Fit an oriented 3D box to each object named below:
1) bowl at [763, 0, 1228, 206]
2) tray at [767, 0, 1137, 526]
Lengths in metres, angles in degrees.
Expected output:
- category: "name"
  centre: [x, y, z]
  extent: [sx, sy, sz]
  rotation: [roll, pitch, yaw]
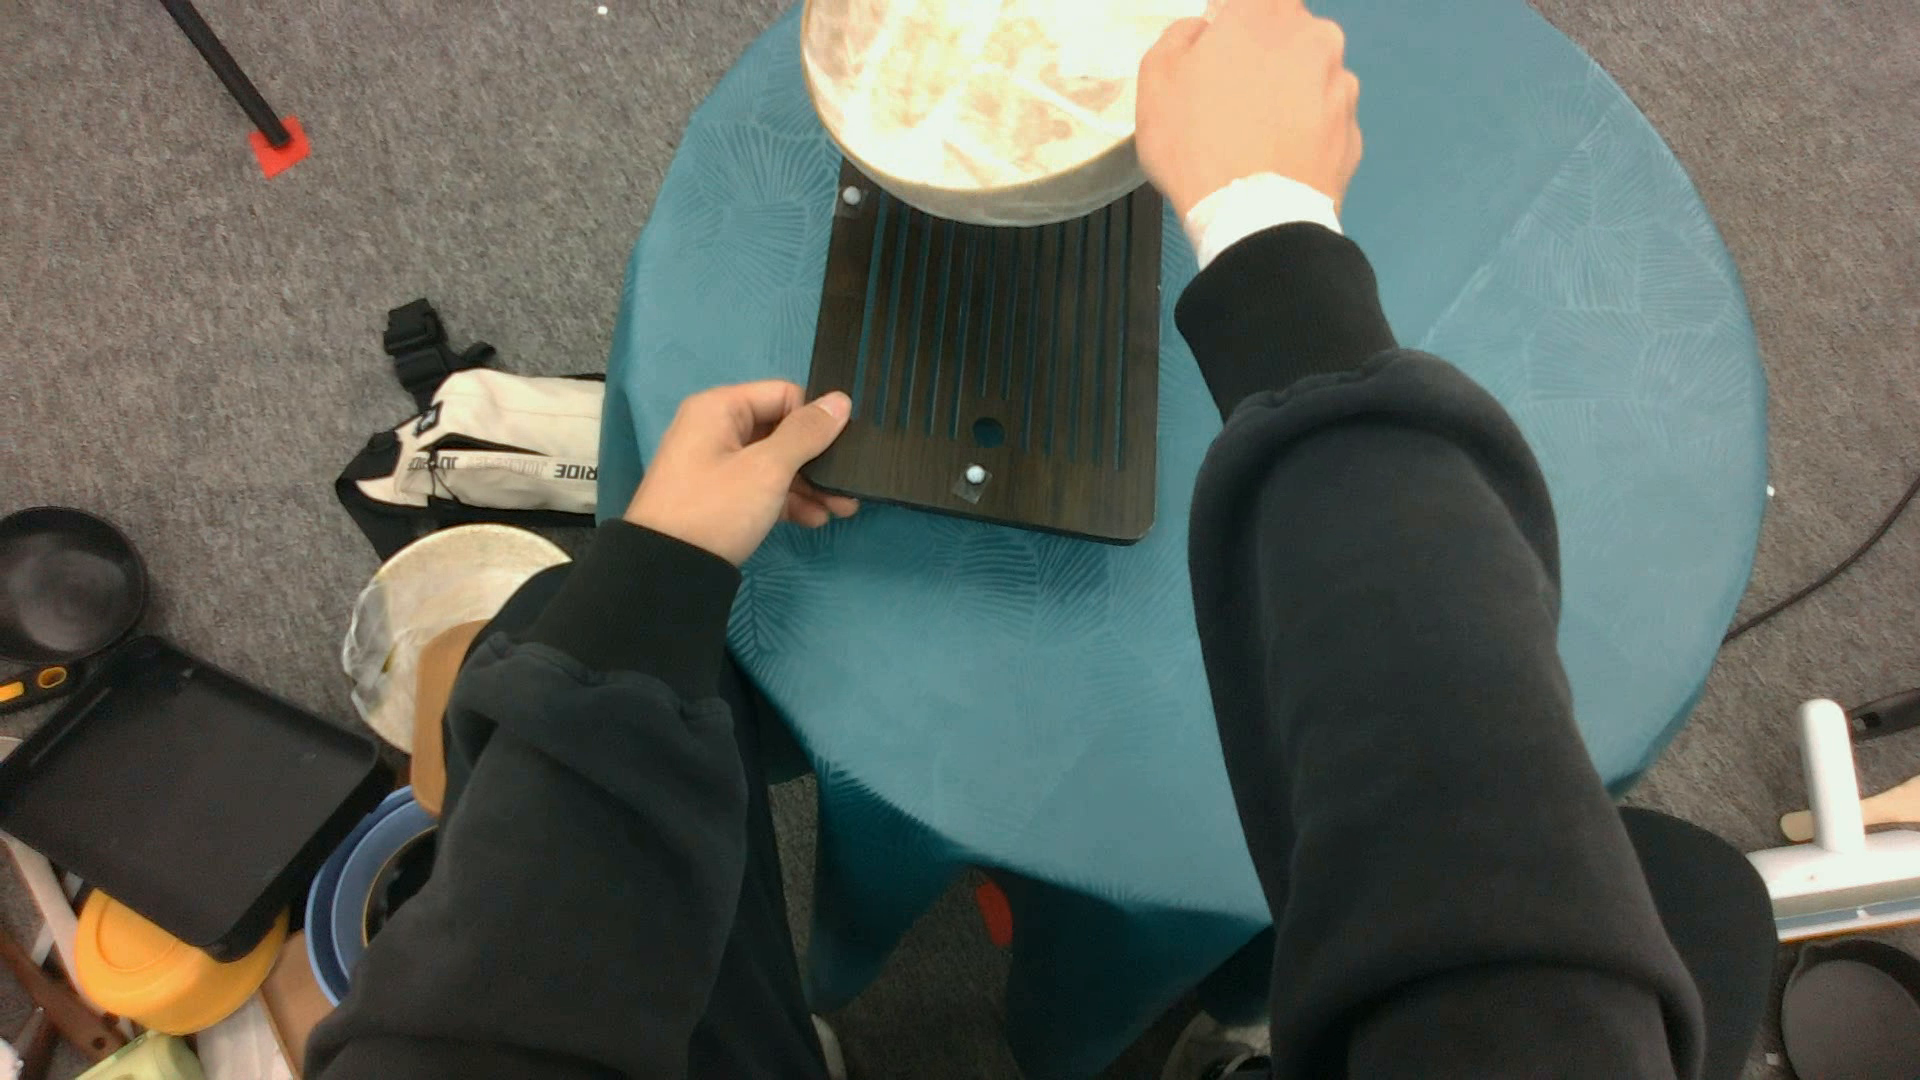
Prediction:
- category: "bowl"
  centre: [0.023, -0.228, 0.621]
  extent: [0.214, 0.094, 0.215]
  rotation: [-5, 71, 14]
- category: "tray"
  centre: [0.005, -0.153, 0.695]
  extent: [0.170, 0.018, 0.307]
  rotation: [10, 63, -10]
